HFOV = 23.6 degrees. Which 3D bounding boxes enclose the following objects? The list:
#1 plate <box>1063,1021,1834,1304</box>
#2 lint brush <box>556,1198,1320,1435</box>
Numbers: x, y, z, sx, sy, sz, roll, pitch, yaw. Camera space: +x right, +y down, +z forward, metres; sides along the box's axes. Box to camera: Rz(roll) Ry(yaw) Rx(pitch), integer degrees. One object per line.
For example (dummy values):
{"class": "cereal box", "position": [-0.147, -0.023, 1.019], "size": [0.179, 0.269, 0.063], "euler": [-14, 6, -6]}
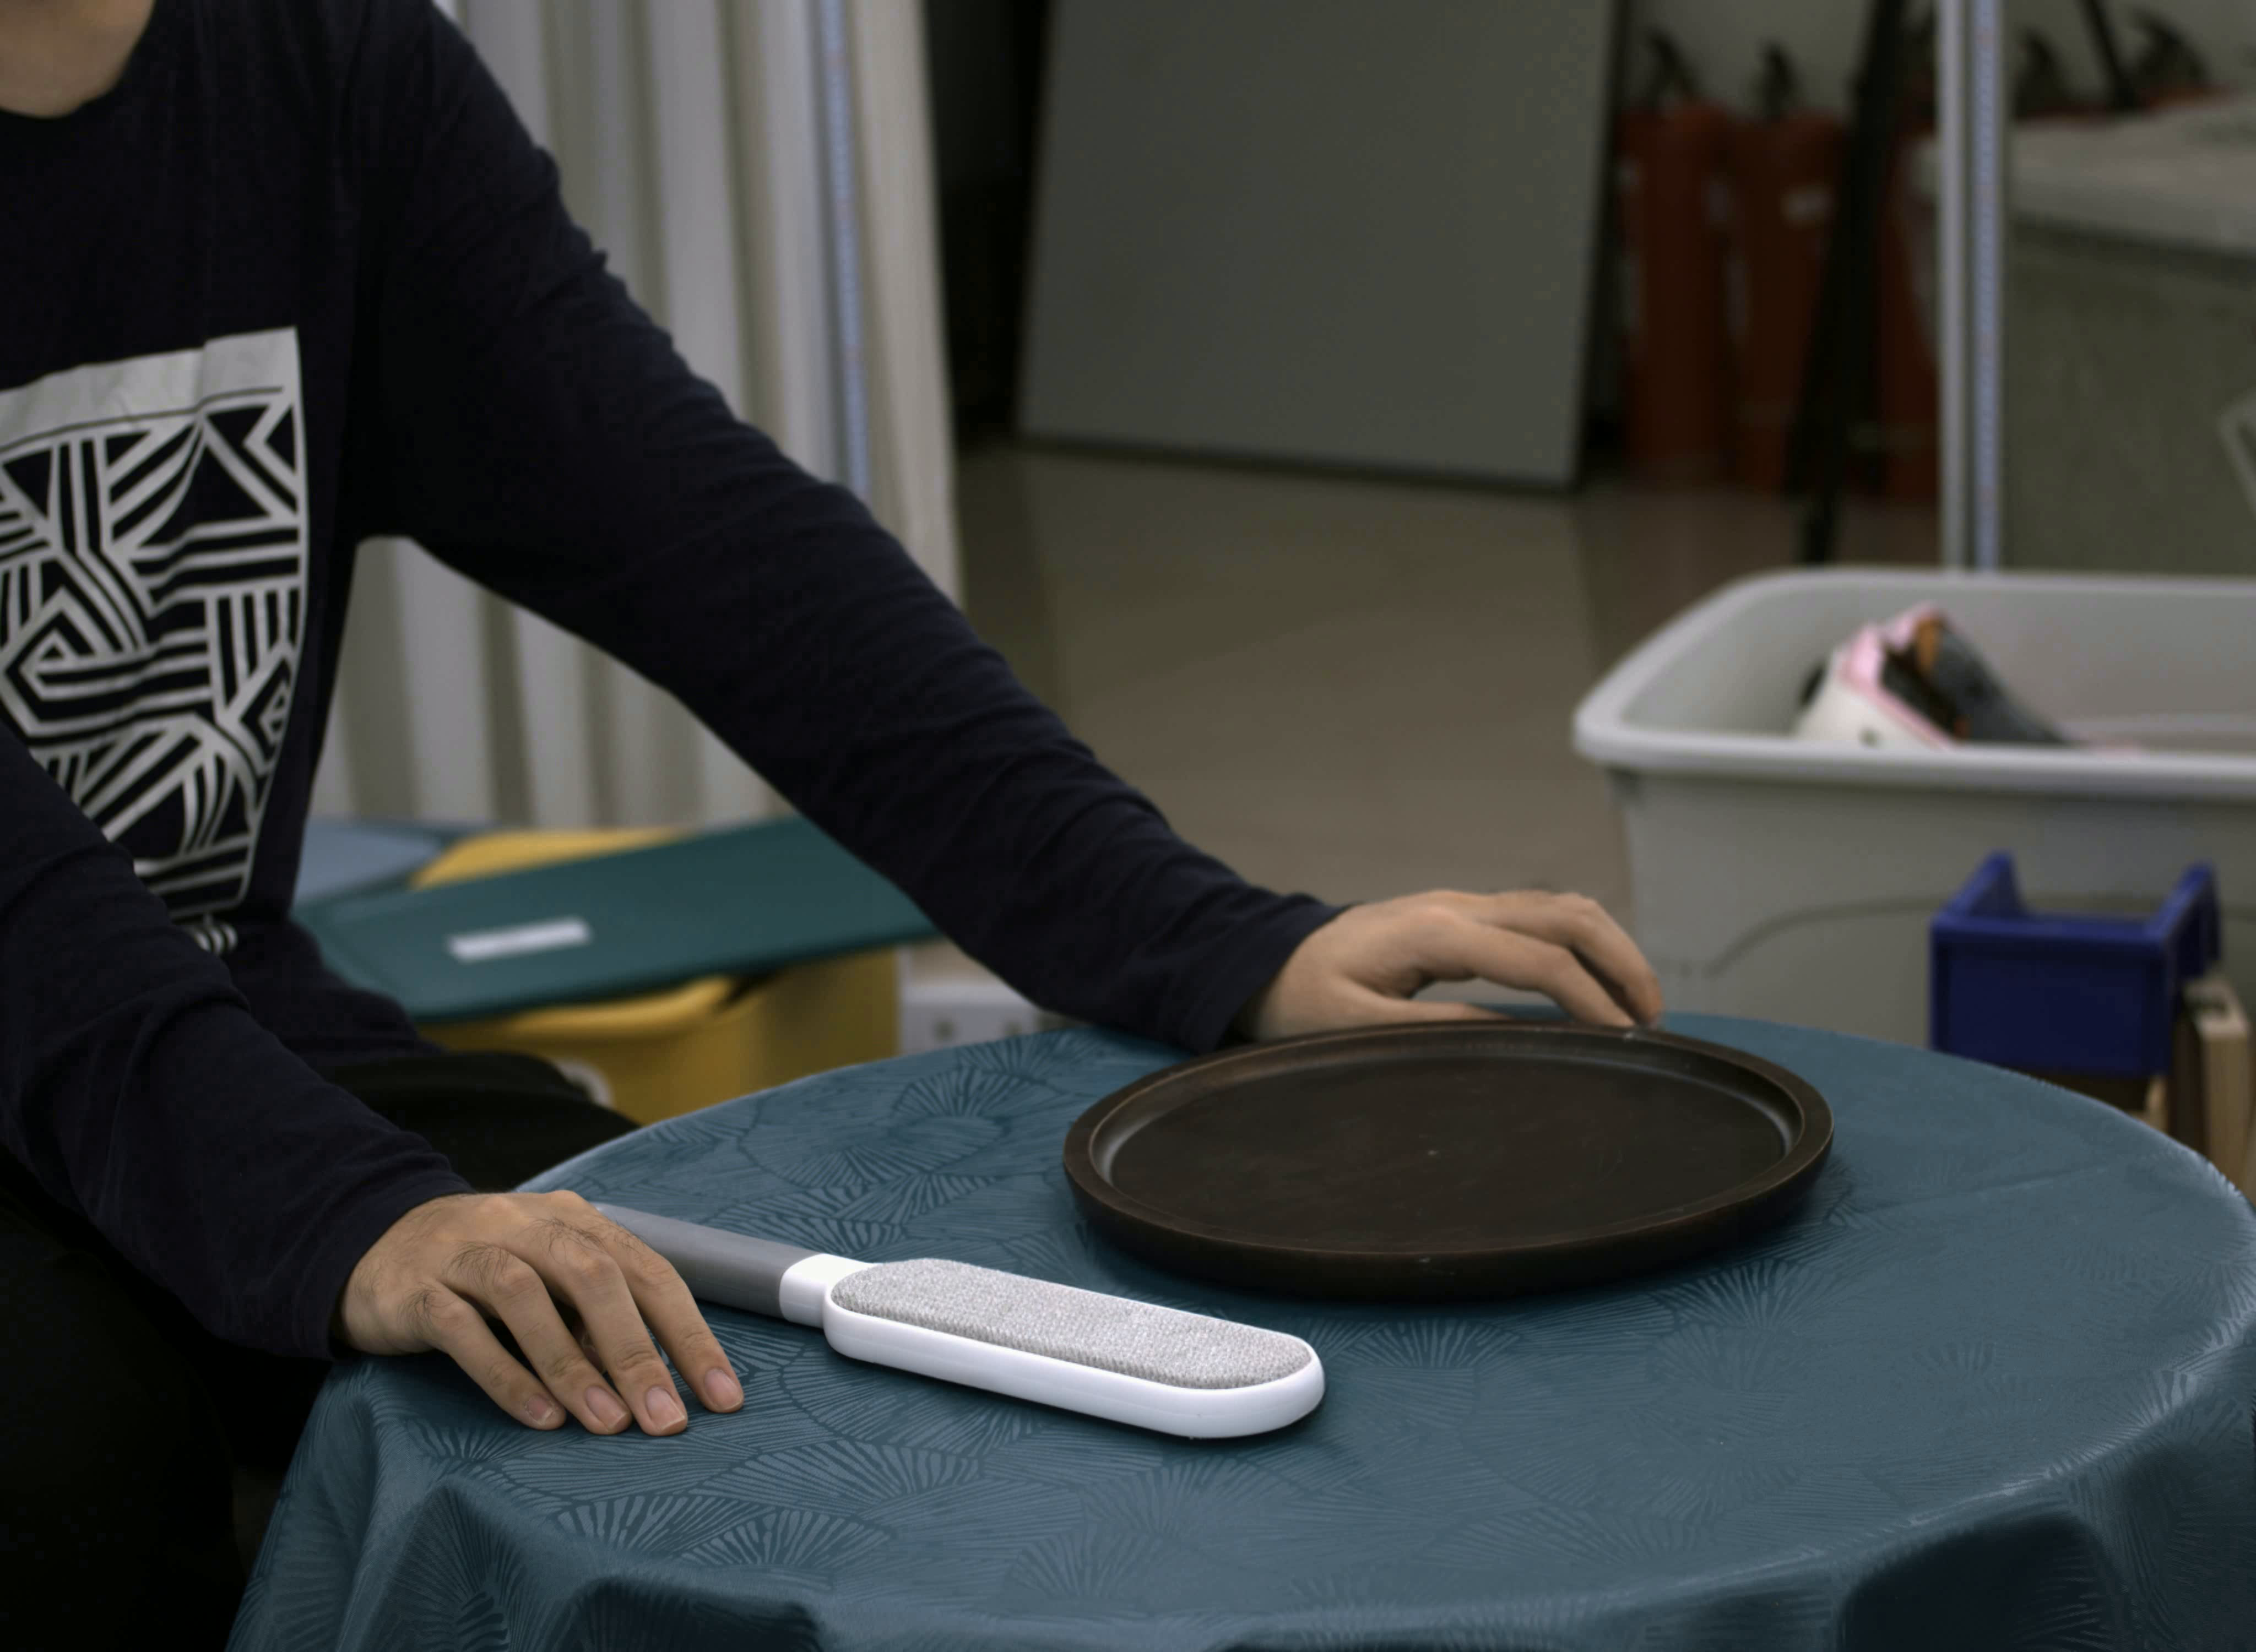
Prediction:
{"class": "plate", "position": [0.104, 0.107, 1.750], "size": [0.251, 0.029, 0.255], "euler": [-3, 13, 0]}
{"class": "lint brush", "position": [-0.065, 0.145, 1.639], "size": [0.311, 0.021, 0.059], "euler": [8, 23, 42]}
